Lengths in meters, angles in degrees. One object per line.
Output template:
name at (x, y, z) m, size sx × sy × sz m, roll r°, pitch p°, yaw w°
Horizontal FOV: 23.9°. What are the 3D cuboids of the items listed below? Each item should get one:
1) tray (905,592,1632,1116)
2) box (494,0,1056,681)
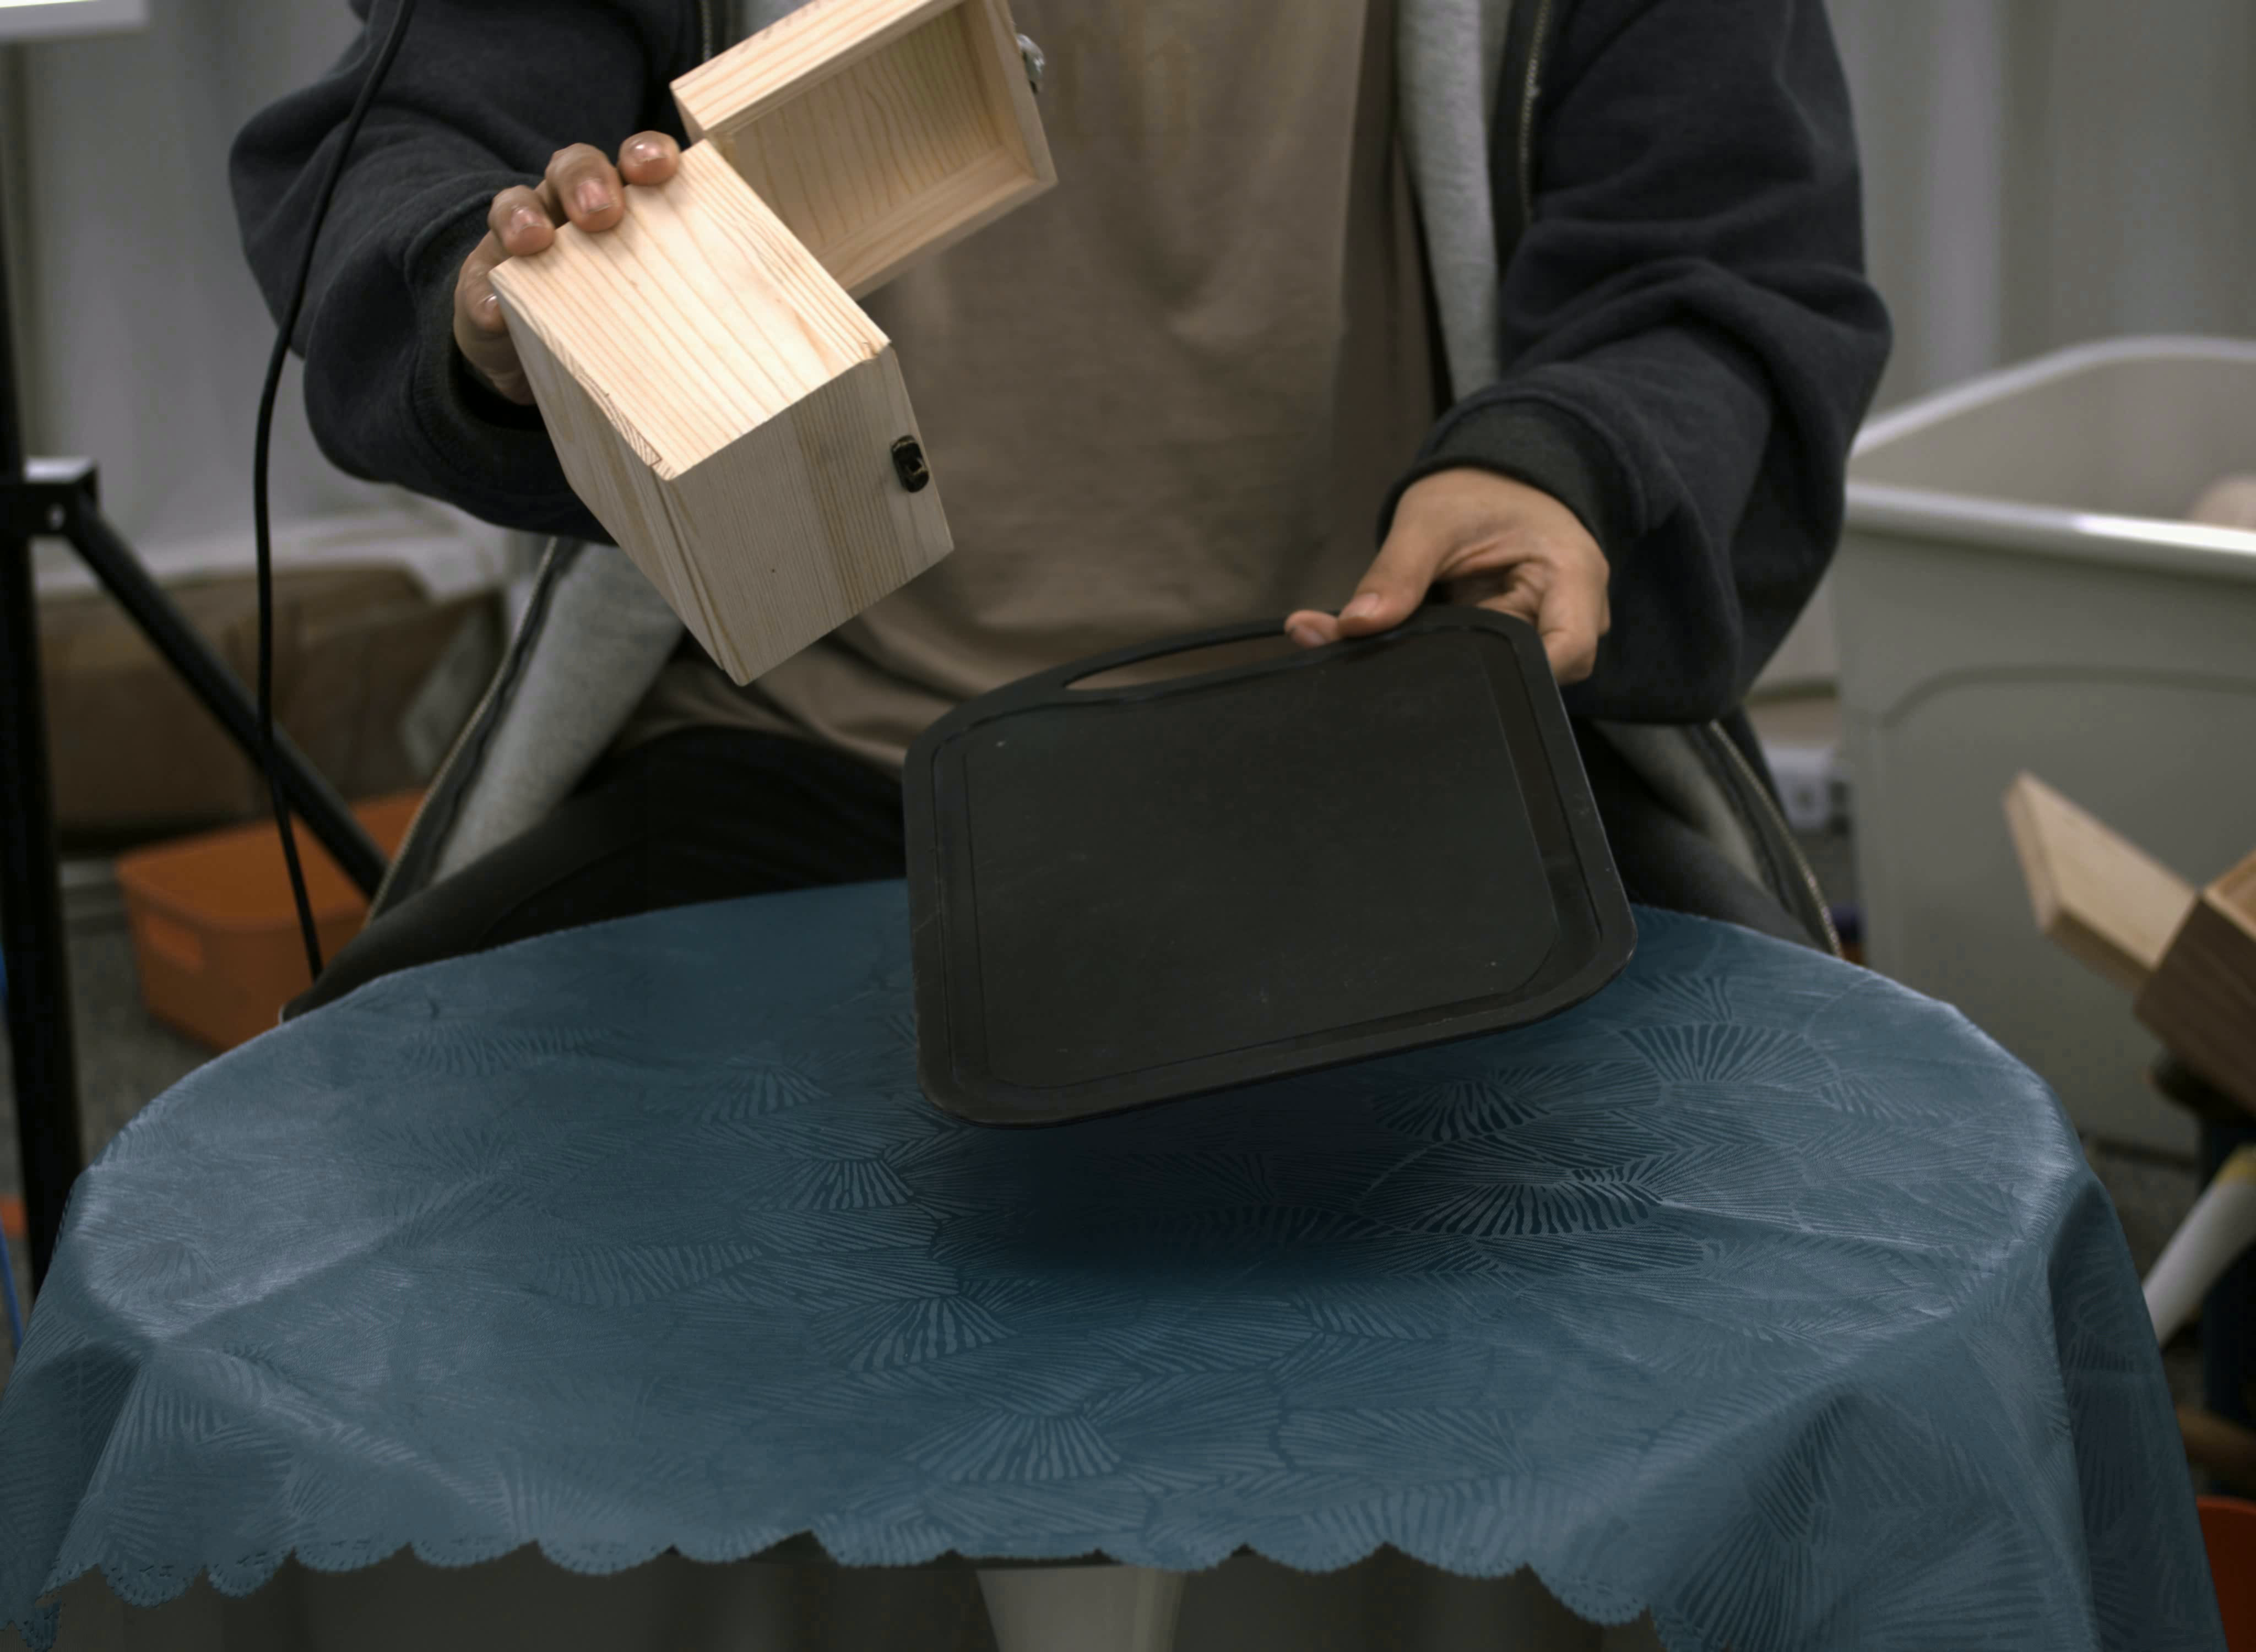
tray at (0.035, -0.001, 1.619) m, size 0.211 × 0.010 × 0.328 m, roll -12°, pitch 25°, yaw 3°
box at (-0.079, -0.158, 1.575) m, size 0.183 × 0.101 × 0.137 m, roll -36°, pitch 56°, yaw -10°
